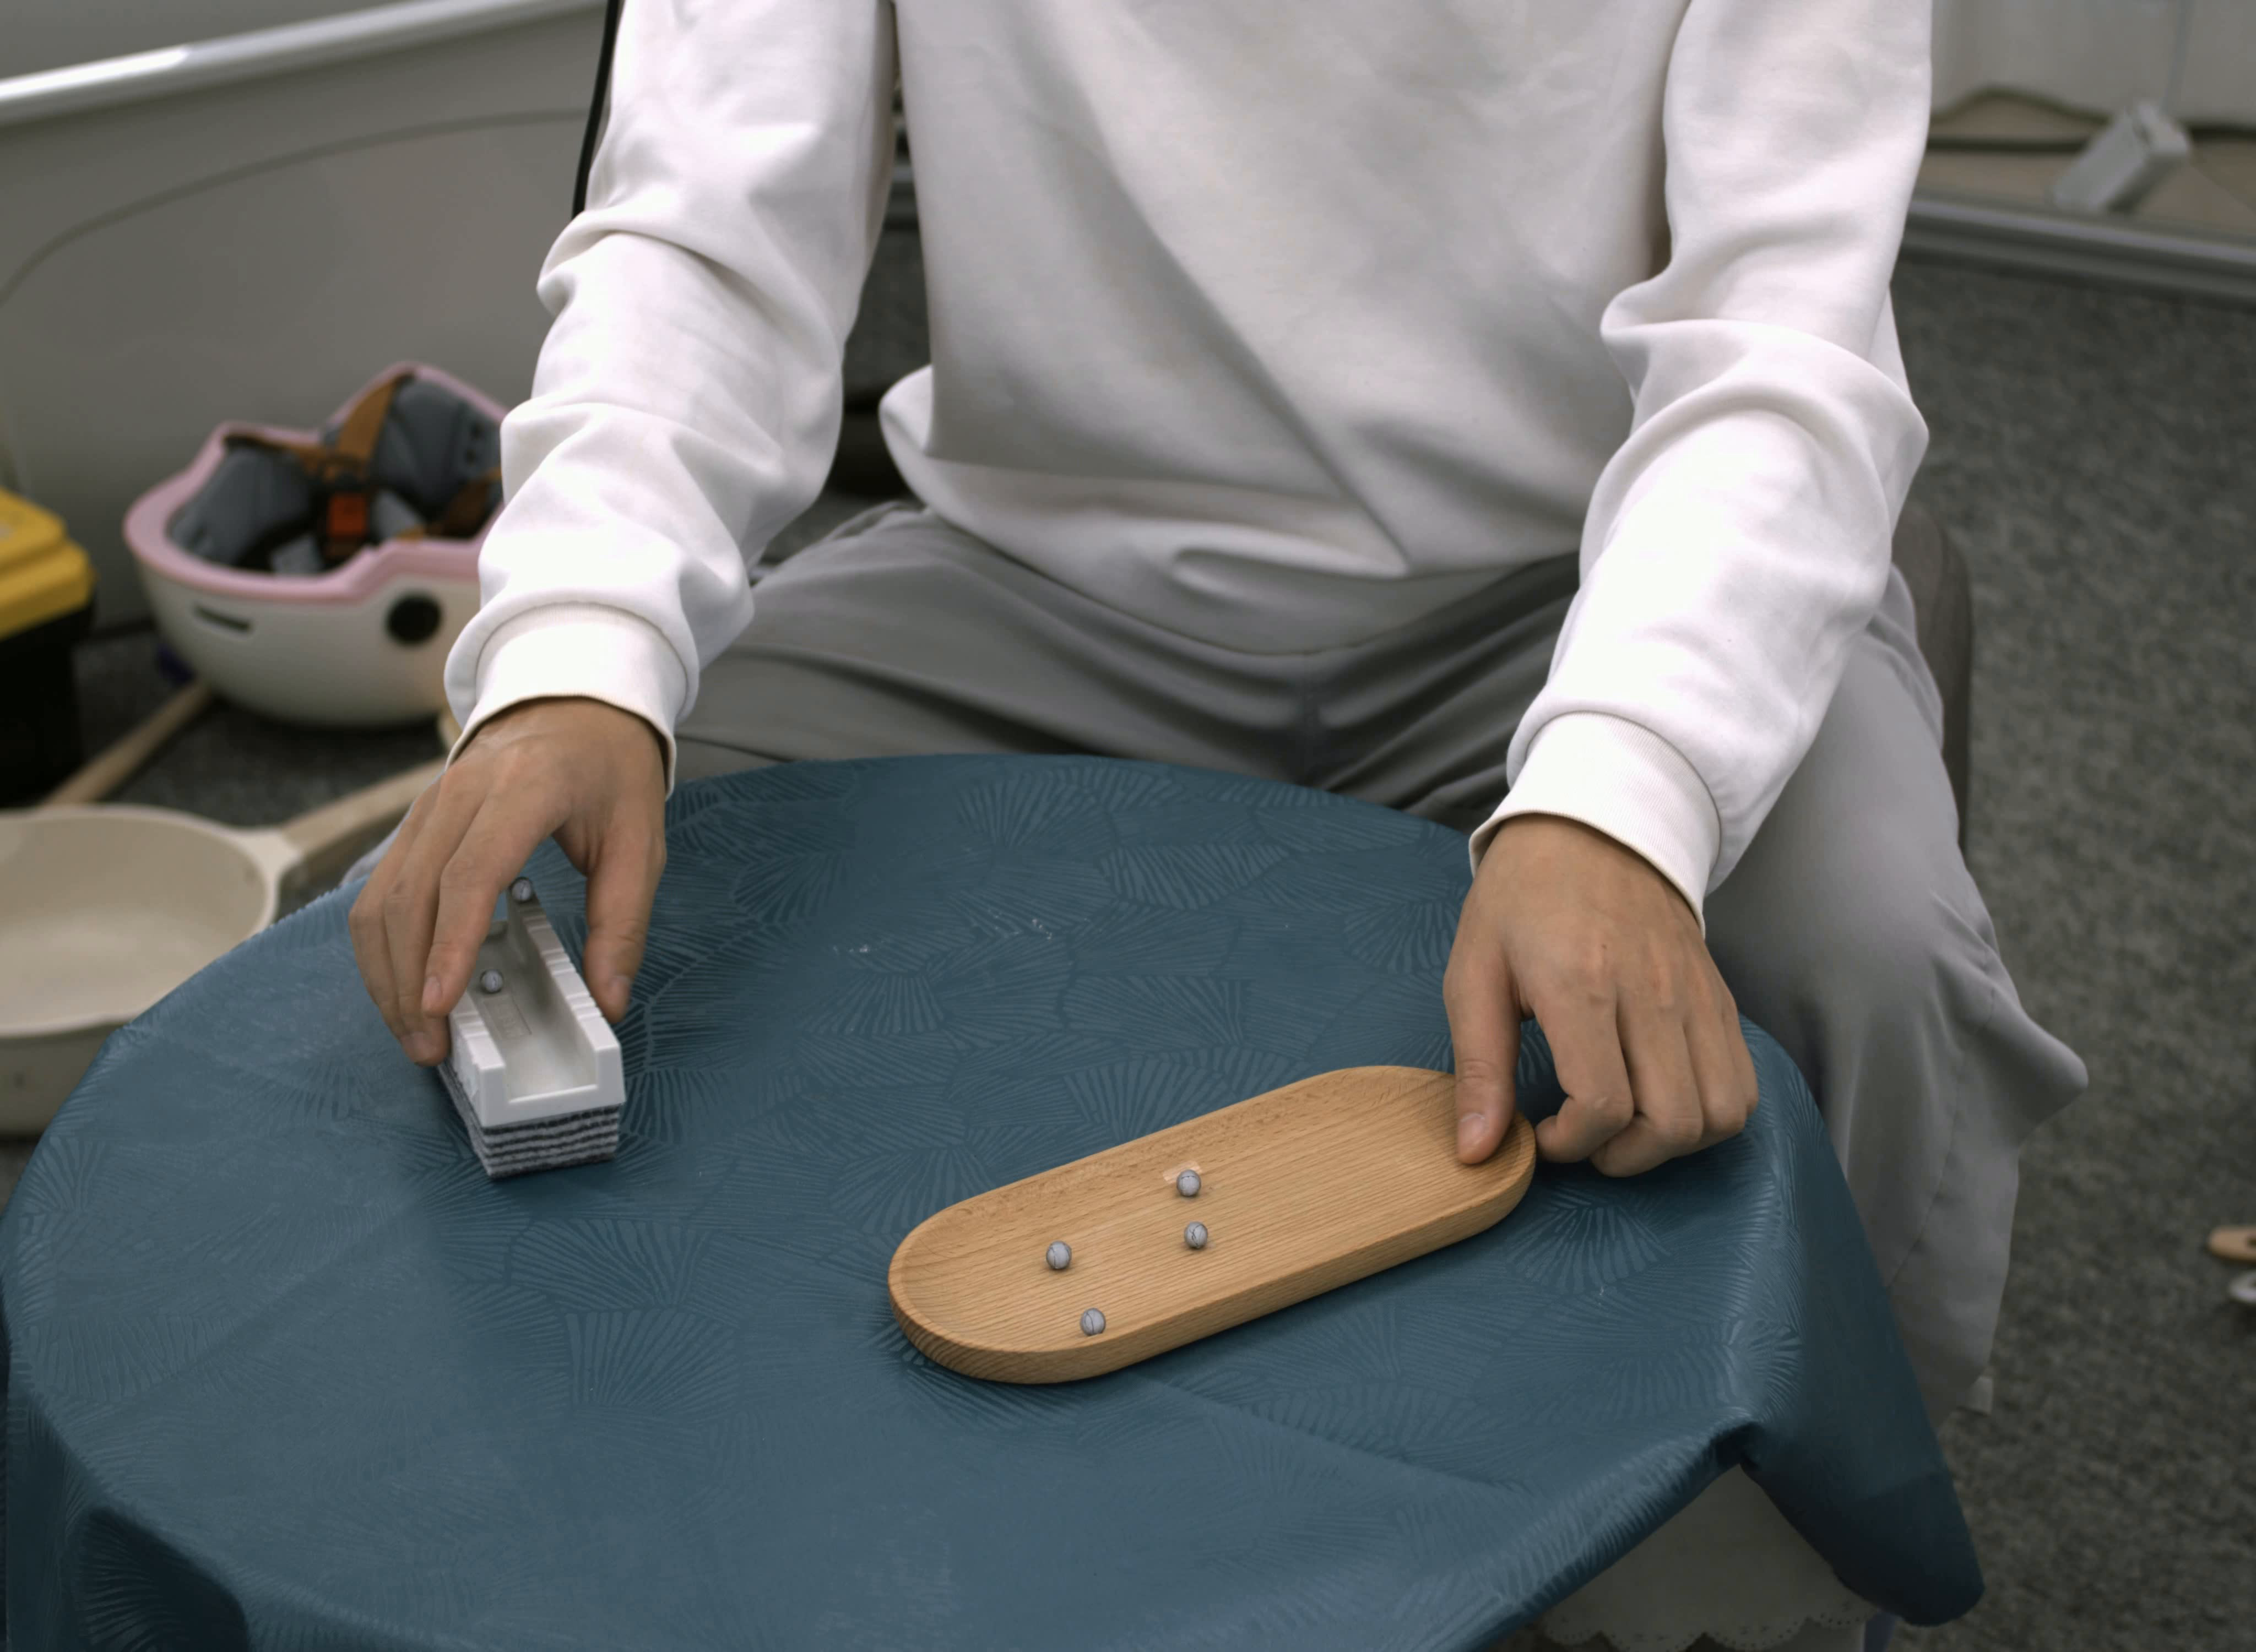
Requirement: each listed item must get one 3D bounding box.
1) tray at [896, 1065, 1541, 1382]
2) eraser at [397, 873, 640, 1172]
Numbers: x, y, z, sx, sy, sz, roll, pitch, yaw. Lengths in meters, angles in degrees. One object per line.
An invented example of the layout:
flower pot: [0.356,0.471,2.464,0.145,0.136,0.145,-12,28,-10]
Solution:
tray: [0.031,0.129,1.831,0.233,0.020,0.102,-17,32,-29]
eraser: [-0.211,0.068,1.934,0.050,0.046,0.135,-6,27,-21]
